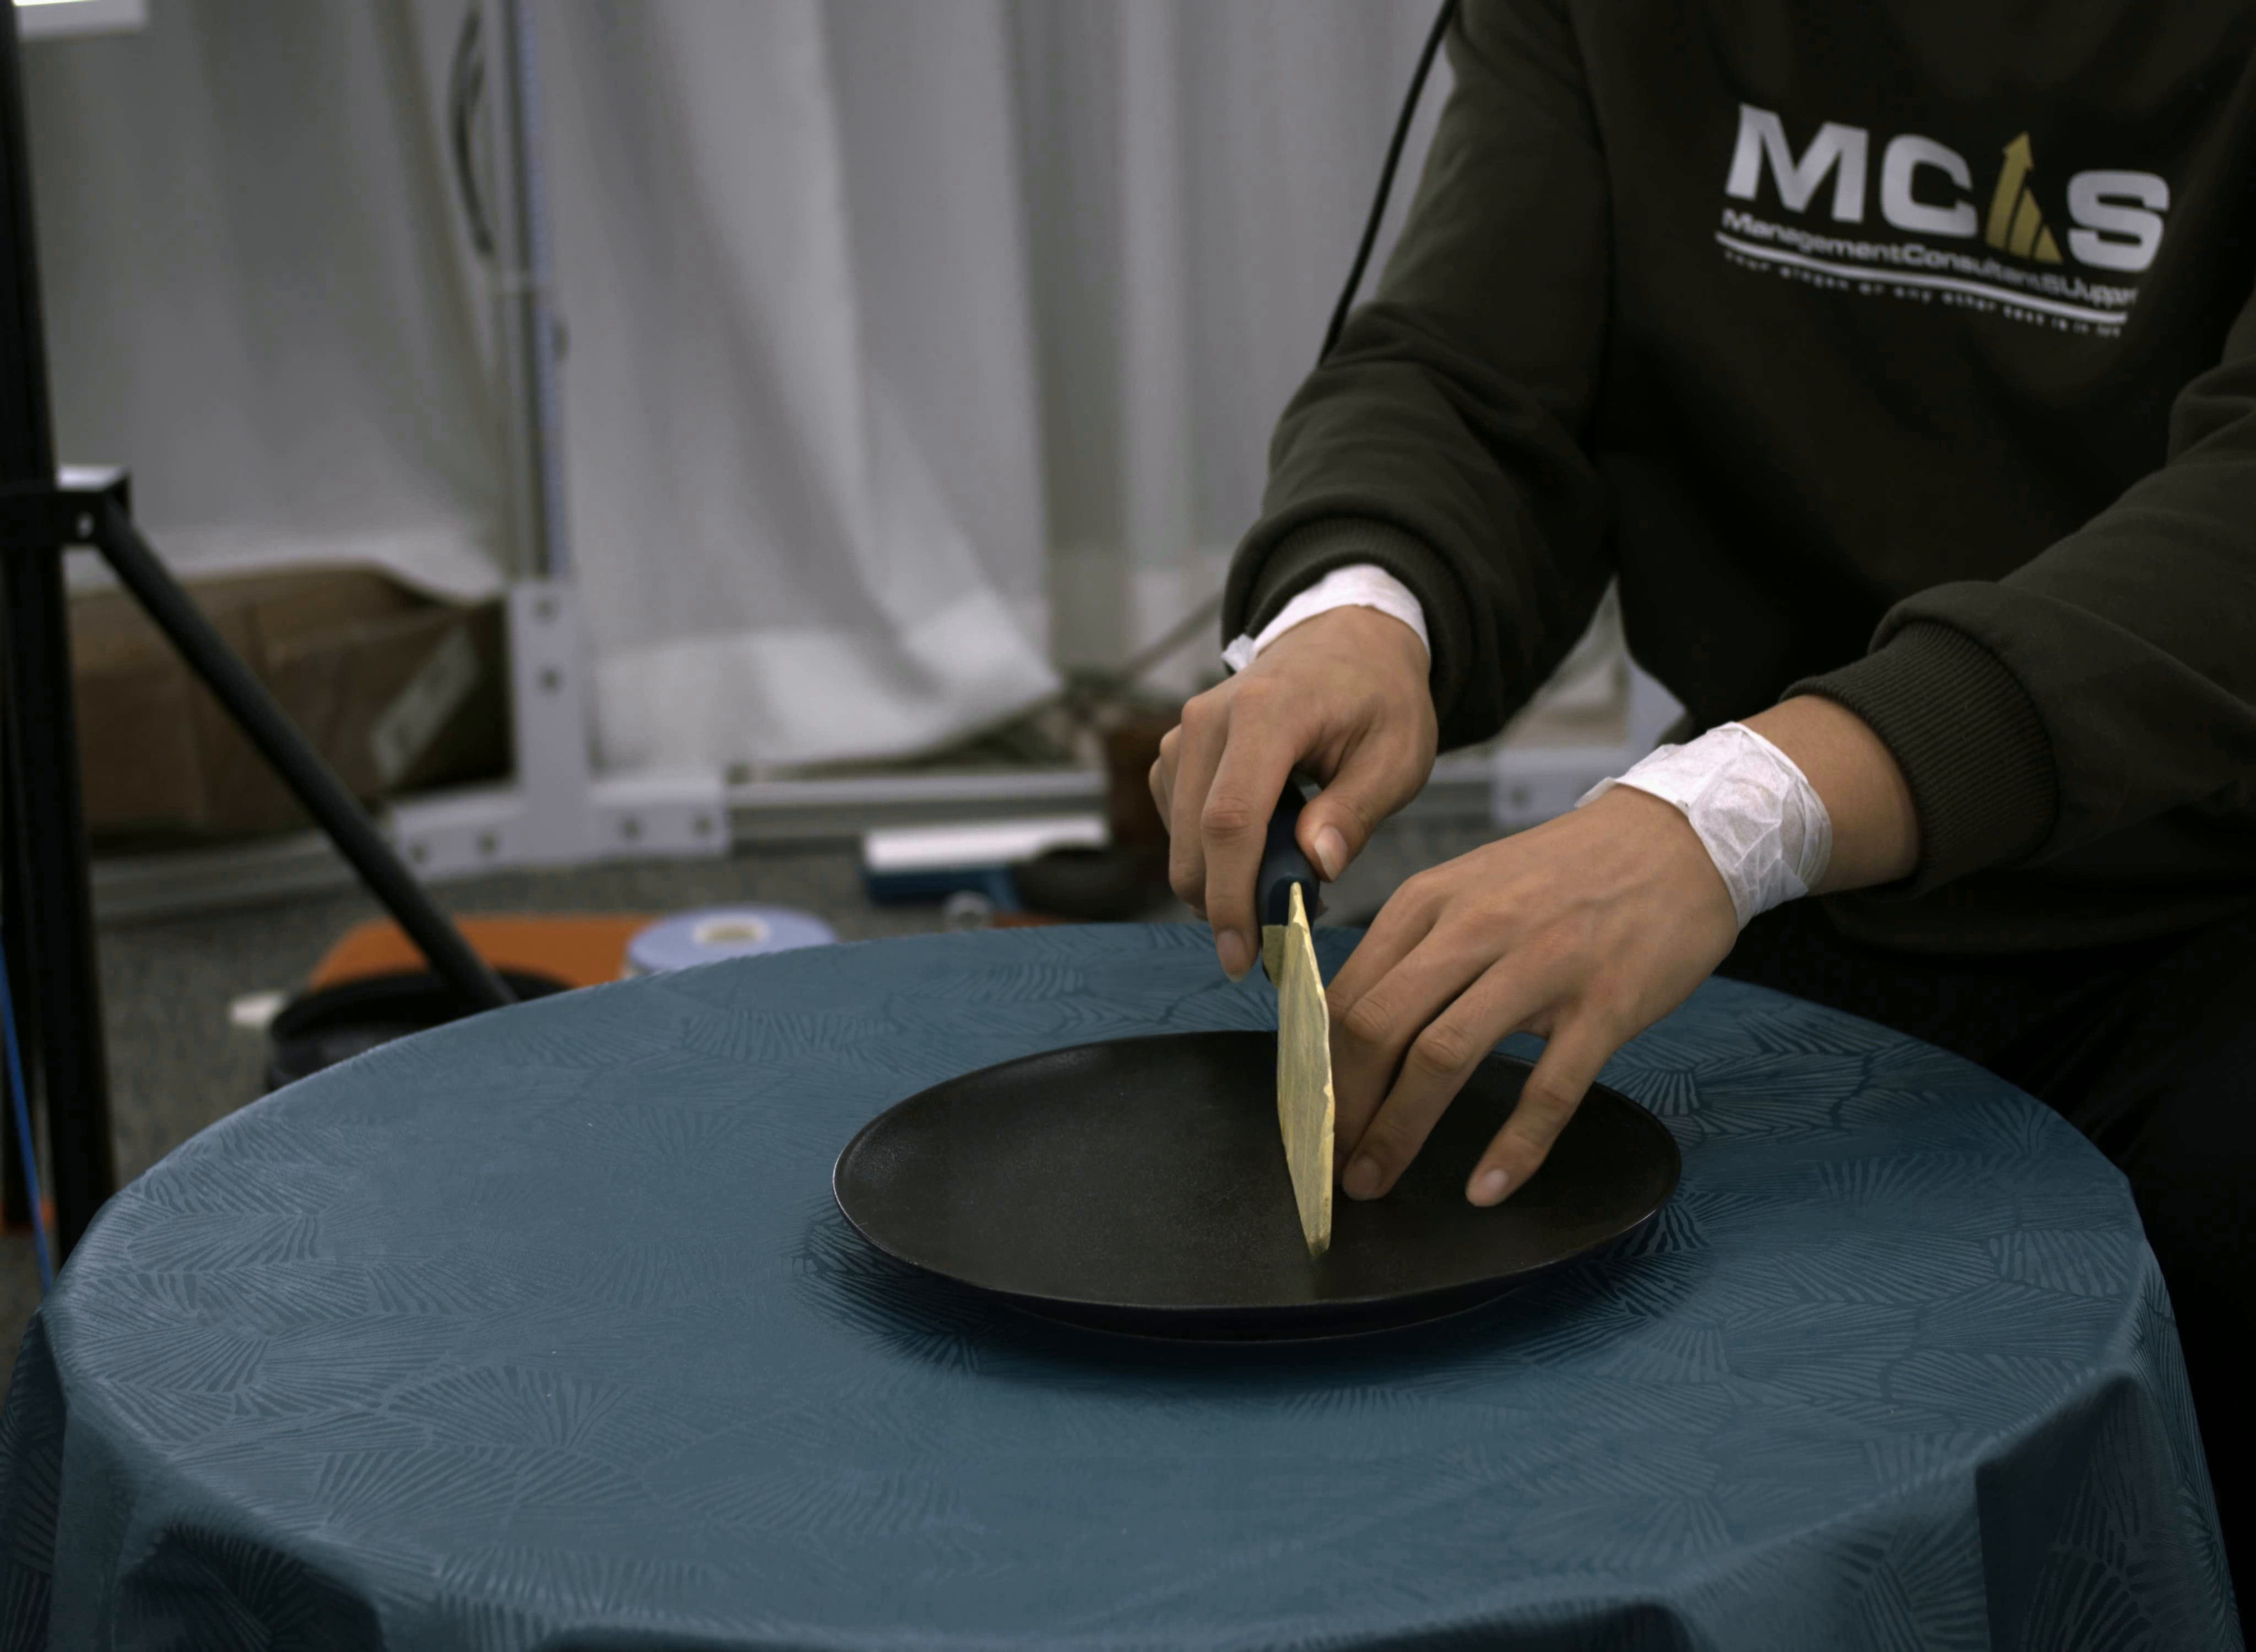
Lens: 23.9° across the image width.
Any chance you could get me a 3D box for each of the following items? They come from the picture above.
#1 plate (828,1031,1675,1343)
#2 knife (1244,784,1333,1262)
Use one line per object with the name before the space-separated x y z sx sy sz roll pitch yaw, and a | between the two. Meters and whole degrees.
plate | 0.035 0.106 1.522 0.243 0.023 0.245 -3 16 -1
knife | 0.049 0.053 1.564 0.027 0.081 0.291 5 20 -3
